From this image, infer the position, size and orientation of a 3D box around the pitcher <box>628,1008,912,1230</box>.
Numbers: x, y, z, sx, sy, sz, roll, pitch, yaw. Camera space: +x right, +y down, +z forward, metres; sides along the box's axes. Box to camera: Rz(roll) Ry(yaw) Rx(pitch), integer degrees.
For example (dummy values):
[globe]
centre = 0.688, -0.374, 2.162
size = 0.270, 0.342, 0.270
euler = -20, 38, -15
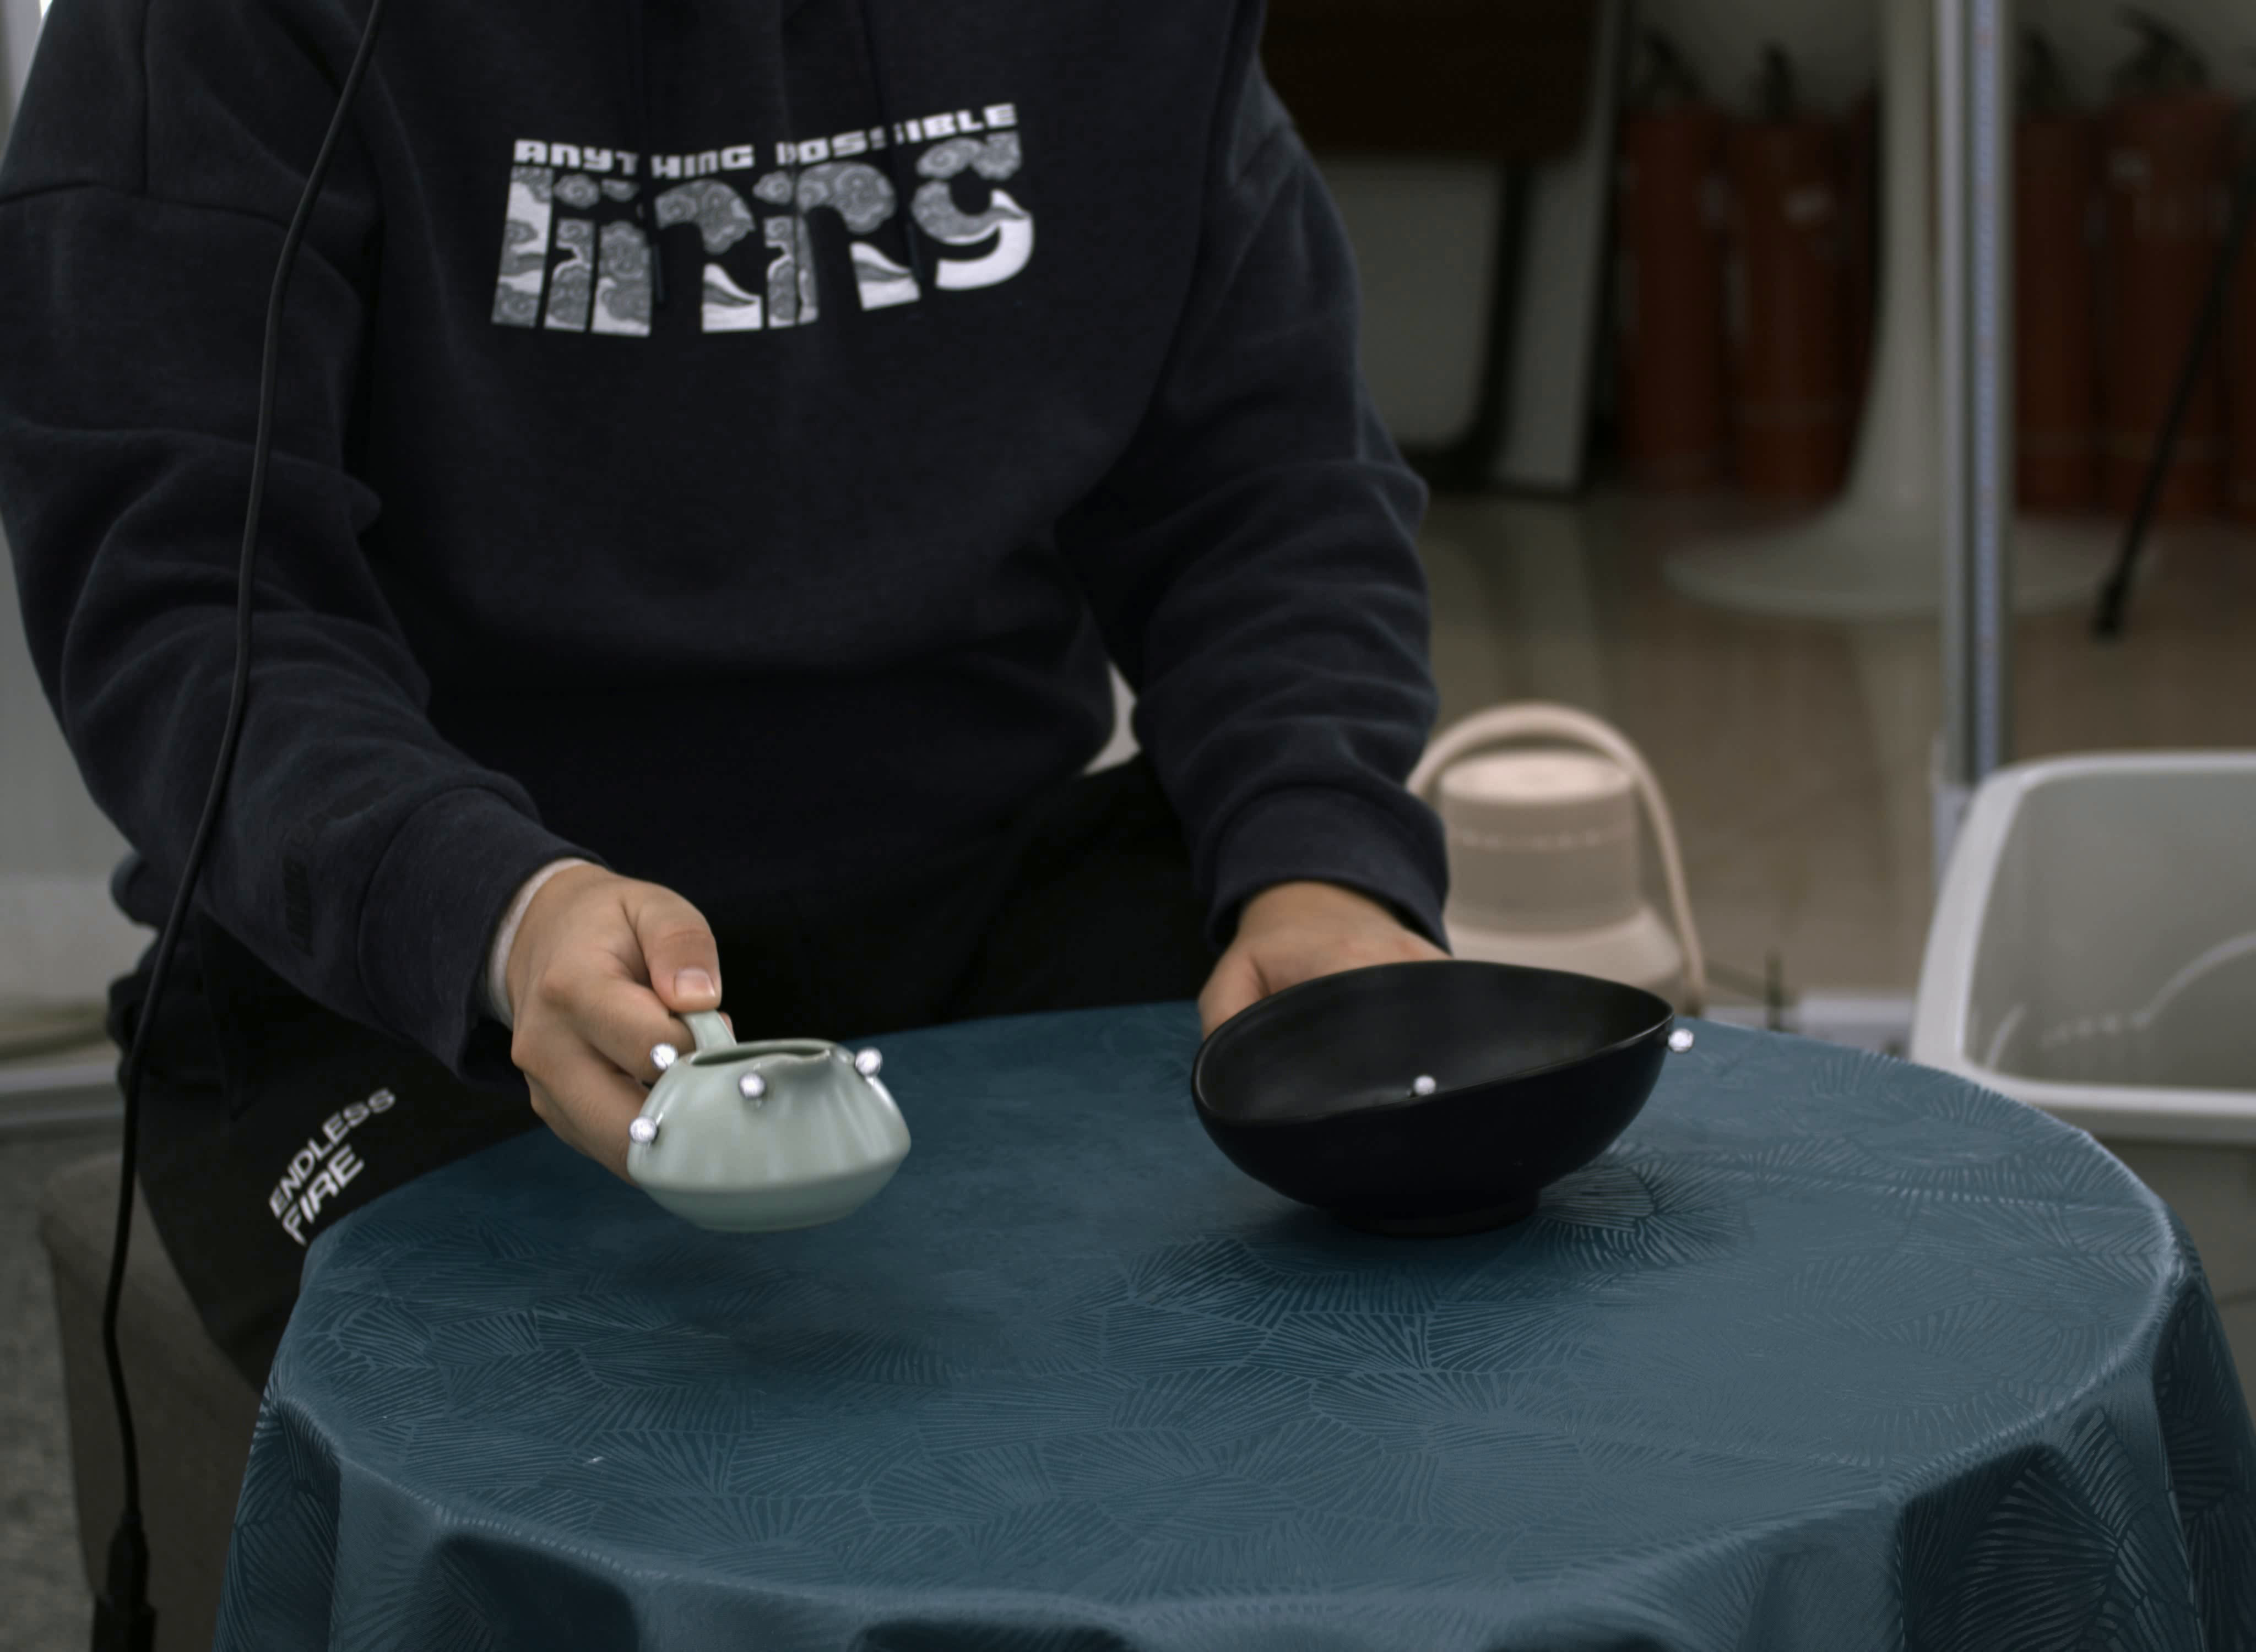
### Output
[pitcher]
centre = -0.114, 0.088, 1.635
size = 0.084, 0.061, 0.109
euler = -8, 6, -28

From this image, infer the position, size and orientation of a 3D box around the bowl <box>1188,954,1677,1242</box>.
[bowl]
centre = 0.100, 0.092, 1.731
size = 0.166, 0.067, 0.139
euler = -14, 16, -33
